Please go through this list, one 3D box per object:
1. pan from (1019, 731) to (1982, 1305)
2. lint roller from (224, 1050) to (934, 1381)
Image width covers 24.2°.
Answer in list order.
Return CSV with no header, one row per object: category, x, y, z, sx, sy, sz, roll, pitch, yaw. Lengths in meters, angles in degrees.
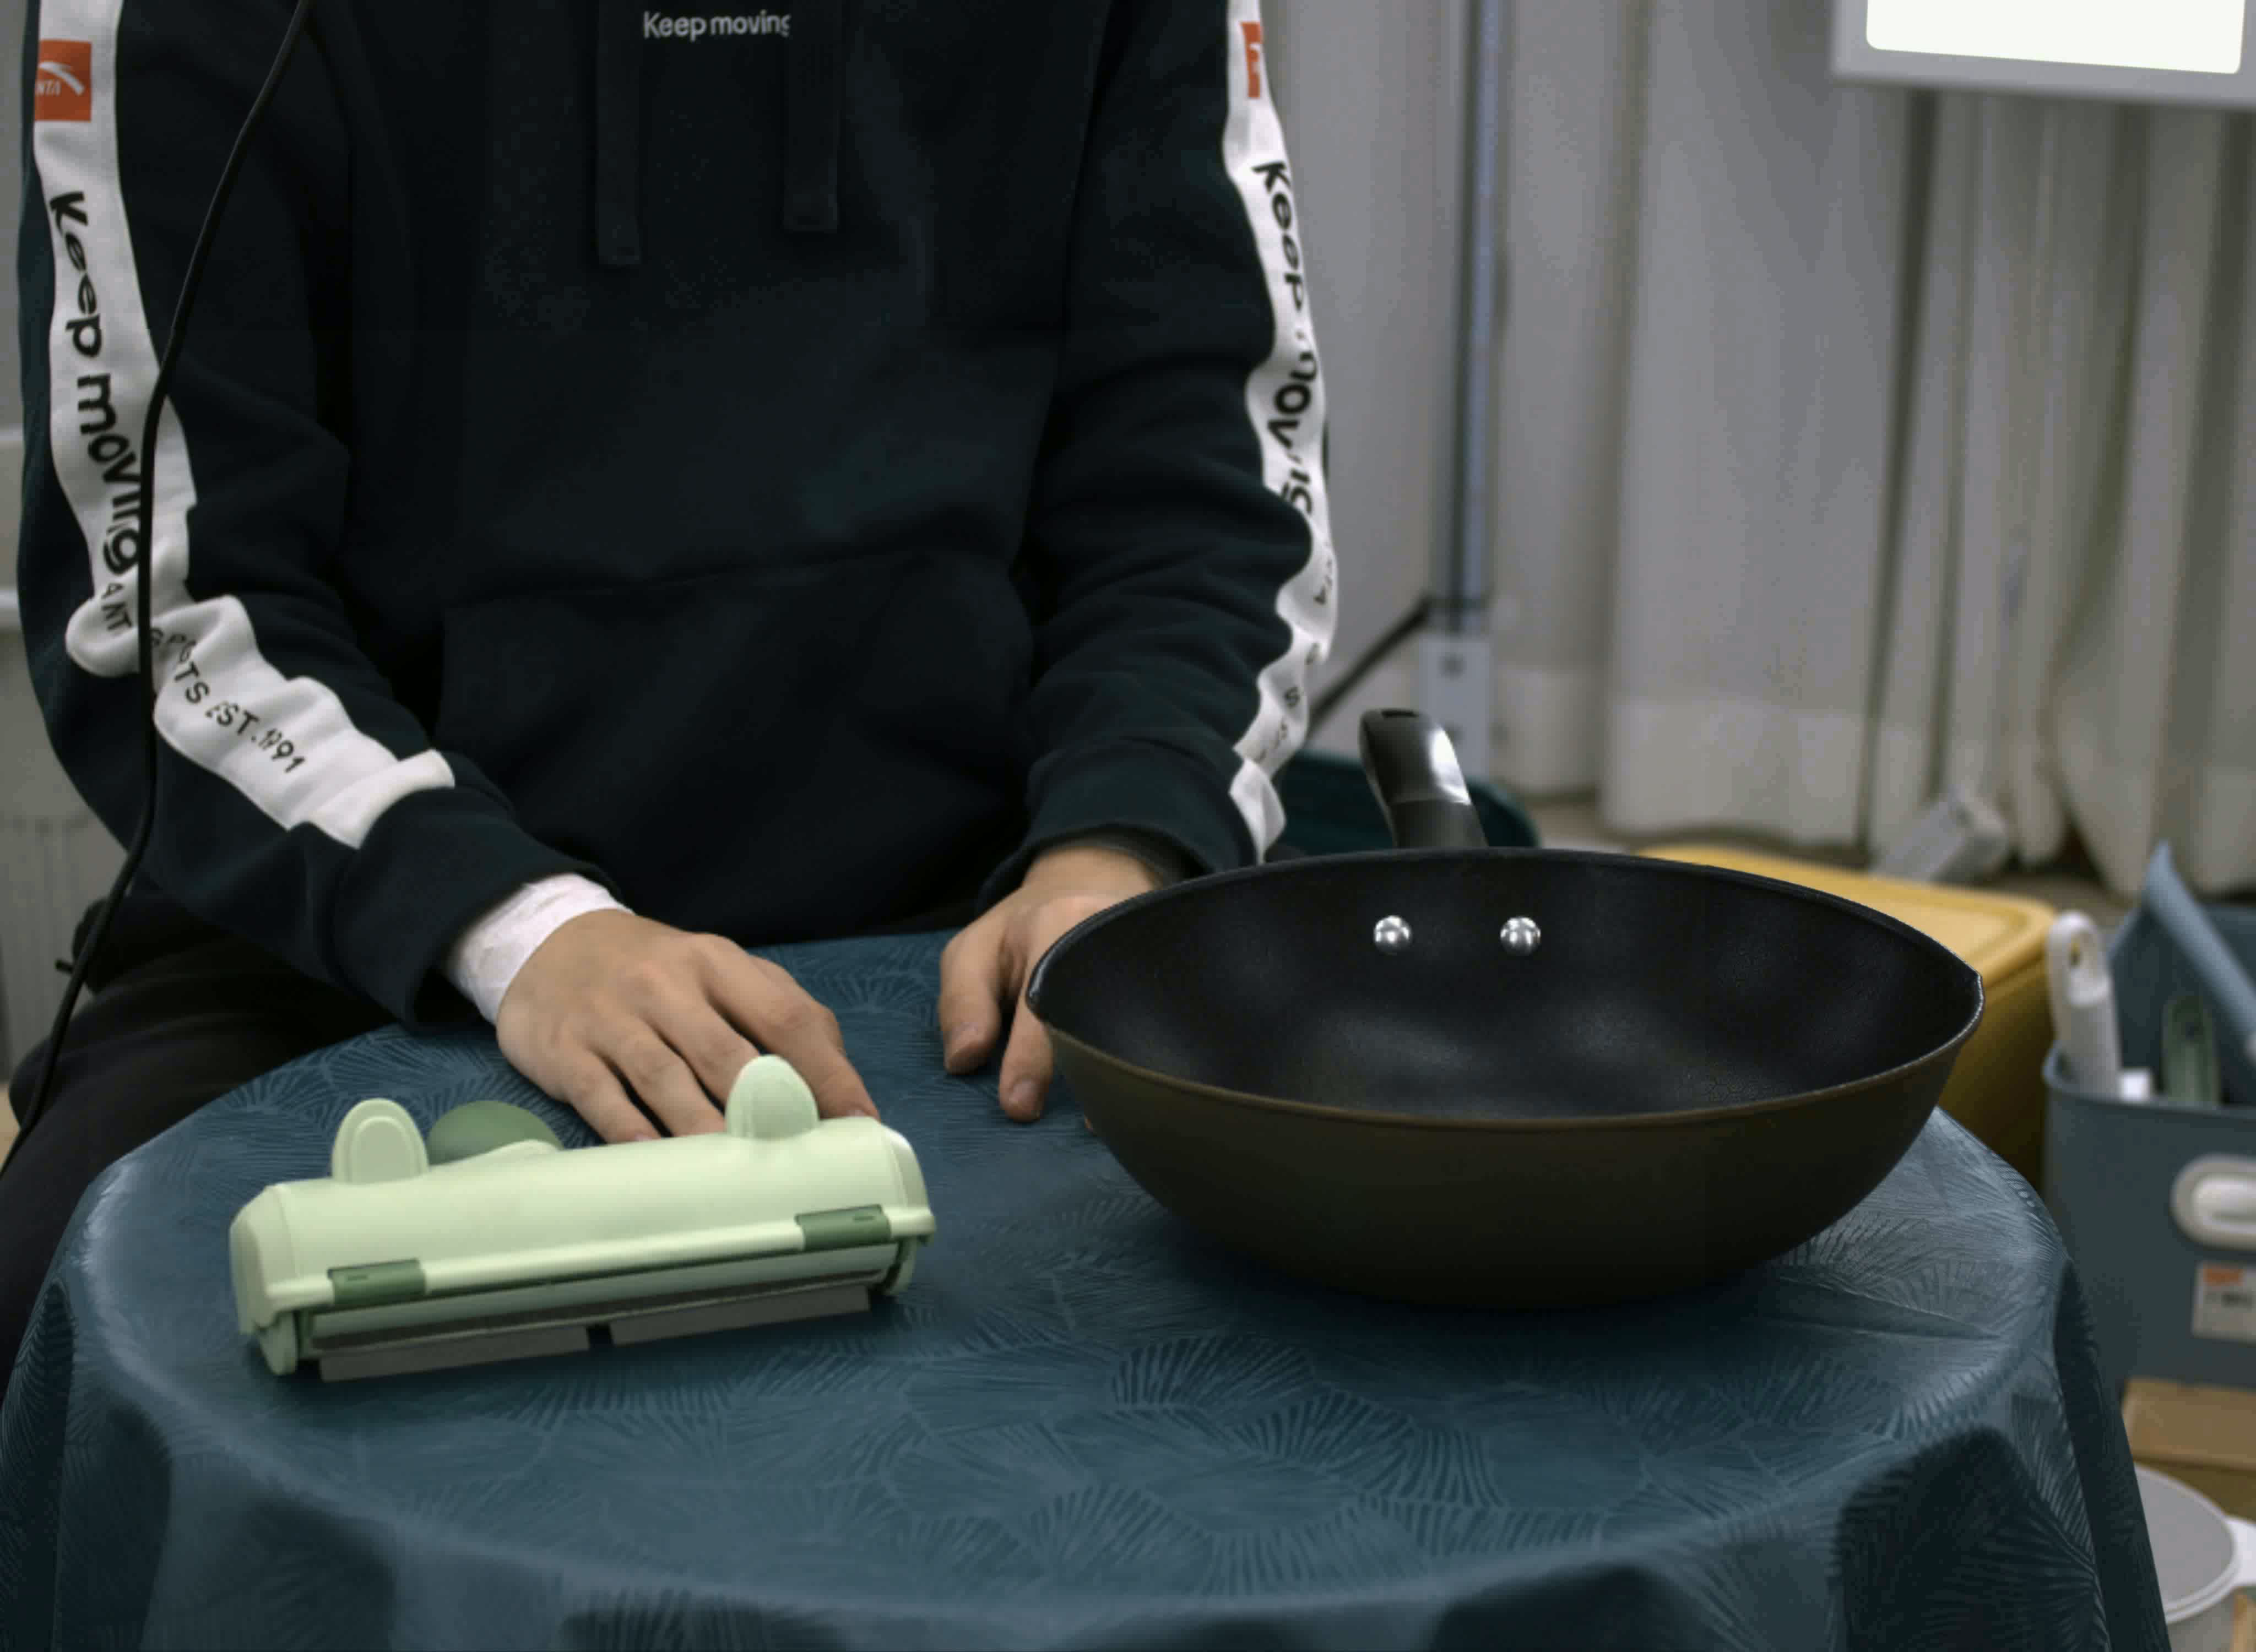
pan,0.106,0.058,1.664,0.287,0.087,0.460,-1,14,-4
lint roller,-0.175,0.093,1.540,0.199,0.083,0.181,-6,22,-20
